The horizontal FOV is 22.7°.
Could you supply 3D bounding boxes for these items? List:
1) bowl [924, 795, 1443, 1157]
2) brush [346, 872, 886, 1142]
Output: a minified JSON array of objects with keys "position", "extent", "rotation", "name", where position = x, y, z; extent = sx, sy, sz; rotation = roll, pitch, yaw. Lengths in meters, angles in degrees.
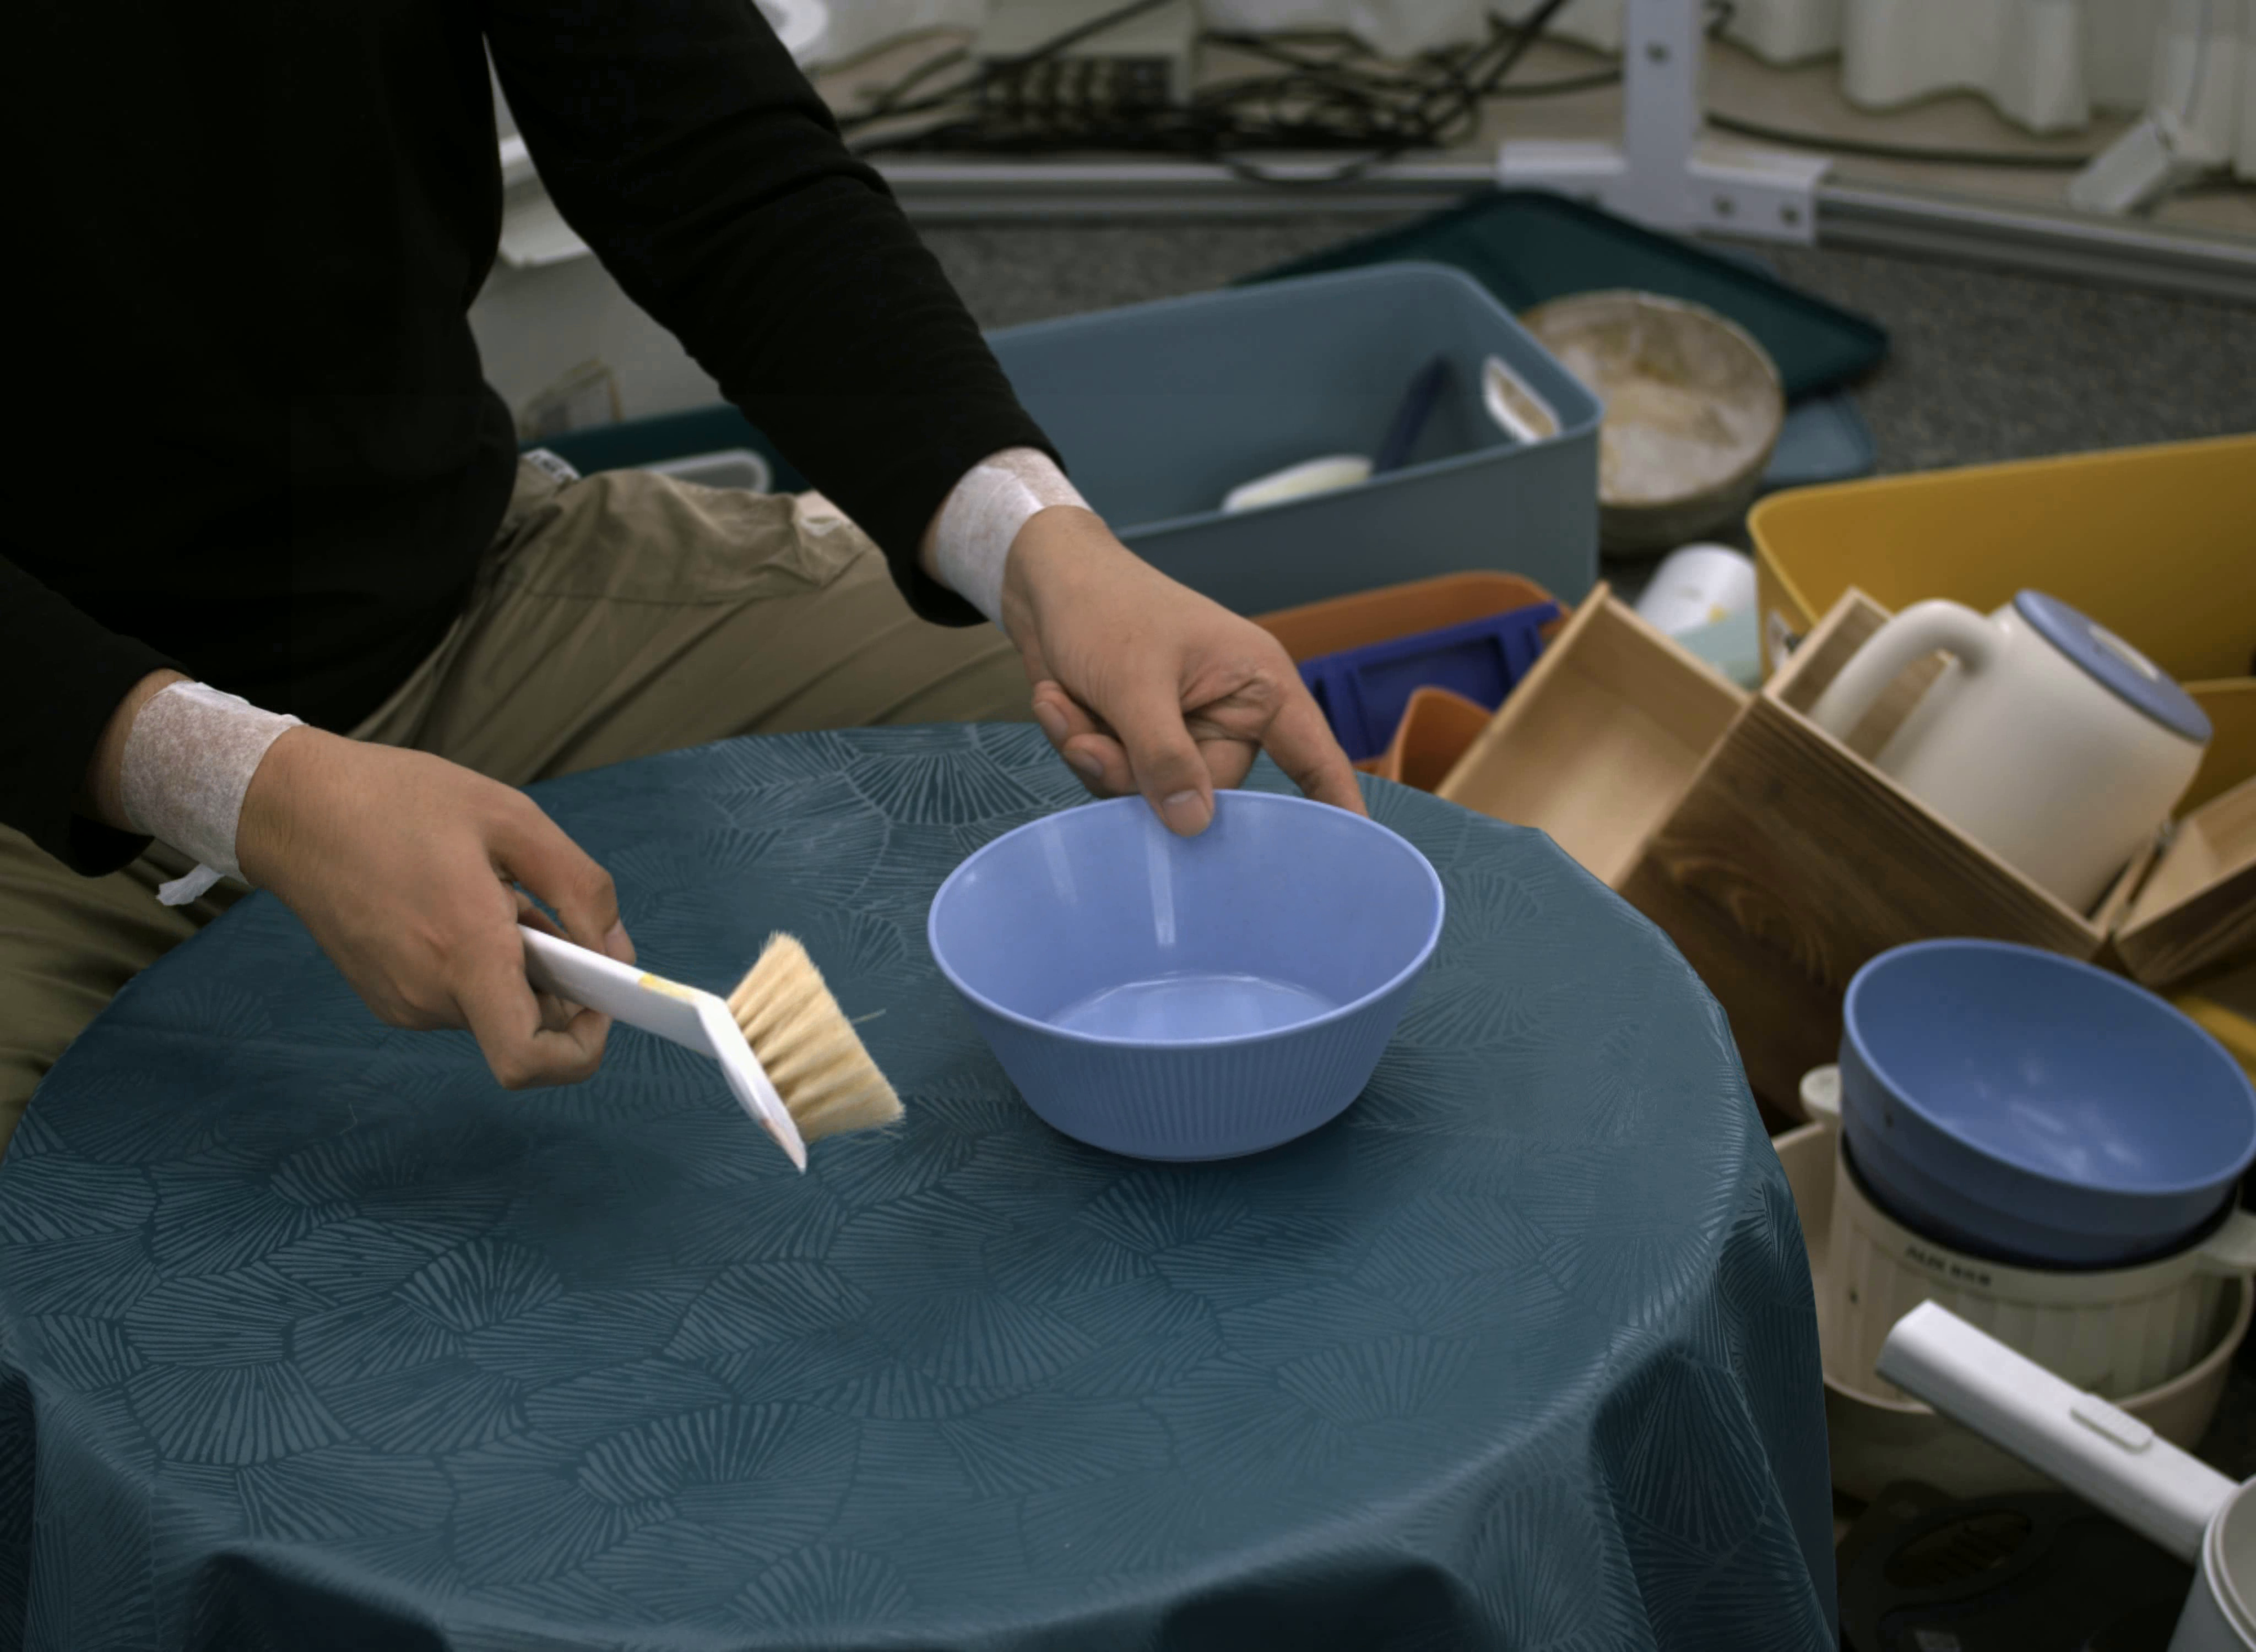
[{"position":[0.020,0.056,1.908],"extent":[0.175,0.069,0.179],"rotation":[-2,26,1],"name":"bowl"},{"position":[-0.168,0.042,1.831],"extent":[0.057,0.068,0.266],"rotation":[-39,34,-23],"name":"brush"}]
